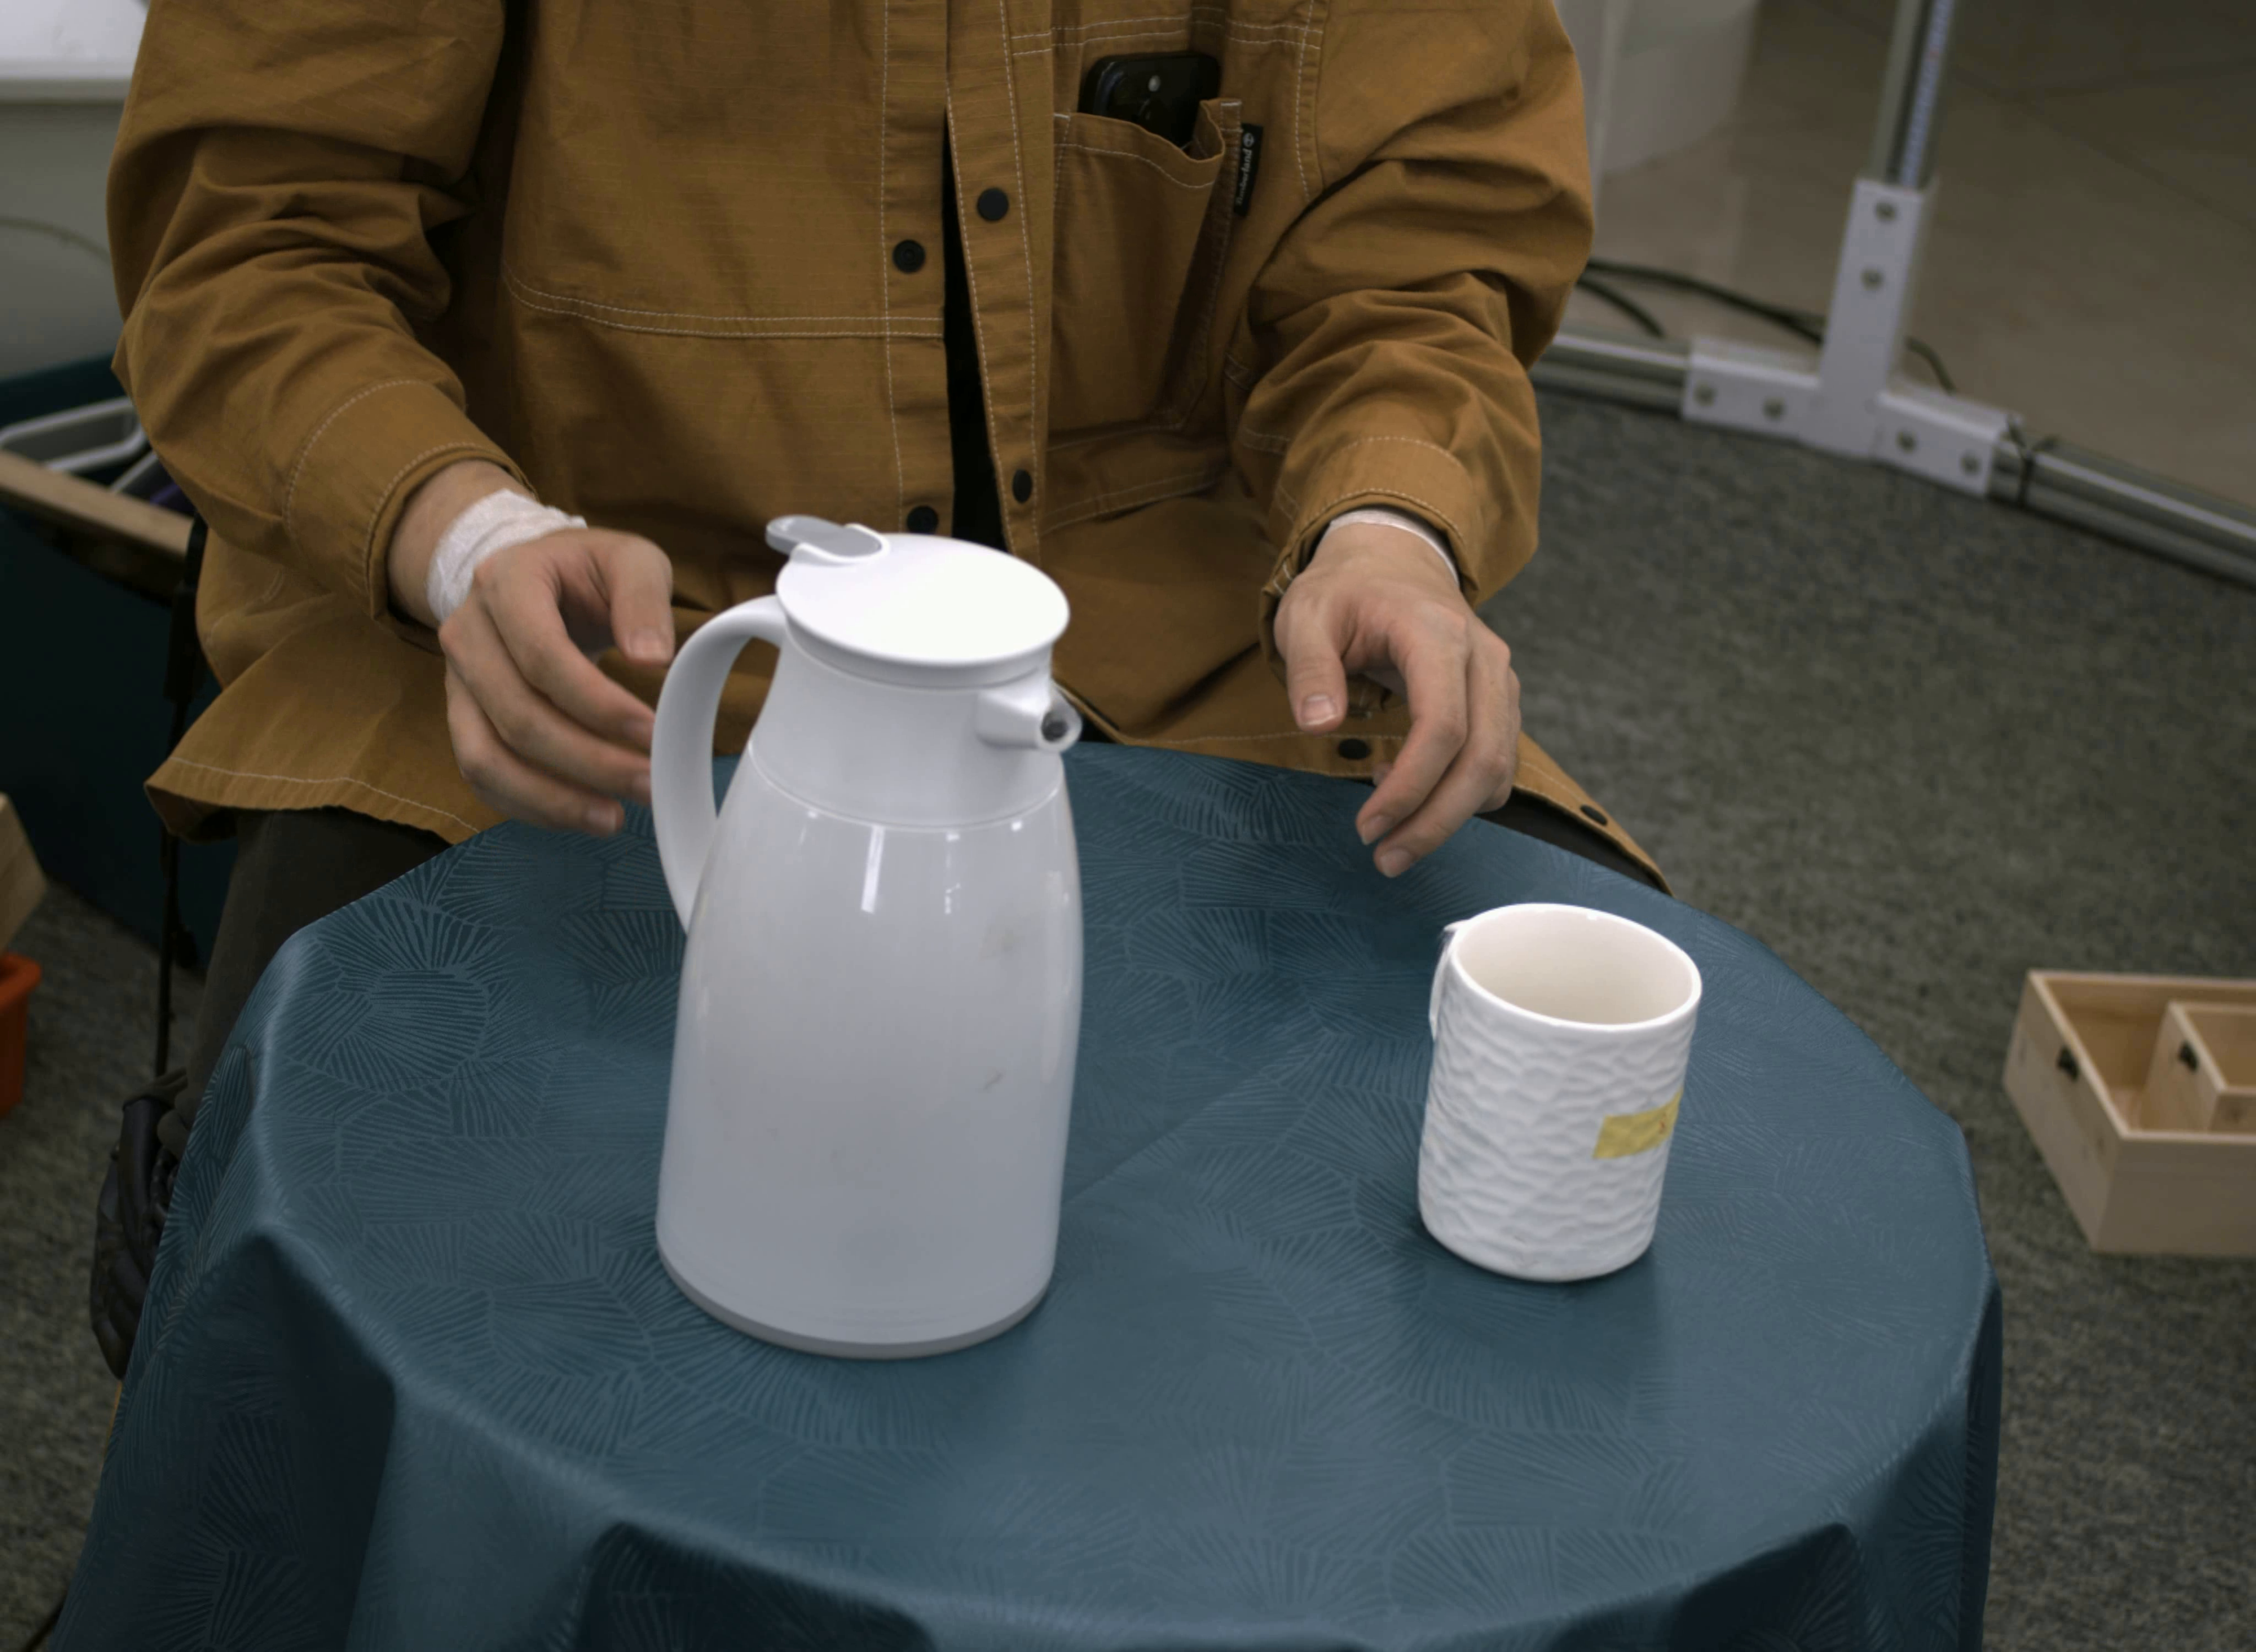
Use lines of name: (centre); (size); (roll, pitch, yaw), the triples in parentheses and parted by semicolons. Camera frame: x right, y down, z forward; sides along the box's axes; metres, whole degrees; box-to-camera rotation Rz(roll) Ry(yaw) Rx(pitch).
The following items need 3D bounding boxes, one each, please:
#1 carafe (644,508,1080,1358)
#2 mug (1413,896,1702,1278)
carafe: (-0.093, 0.024, 1.708); (0.169, 0.248, 0.132); (26, 33, 34)
mug: (0.136, 0.081, 1.801); (0.084, 0.101, 0.119); (-9, 32, -27)
